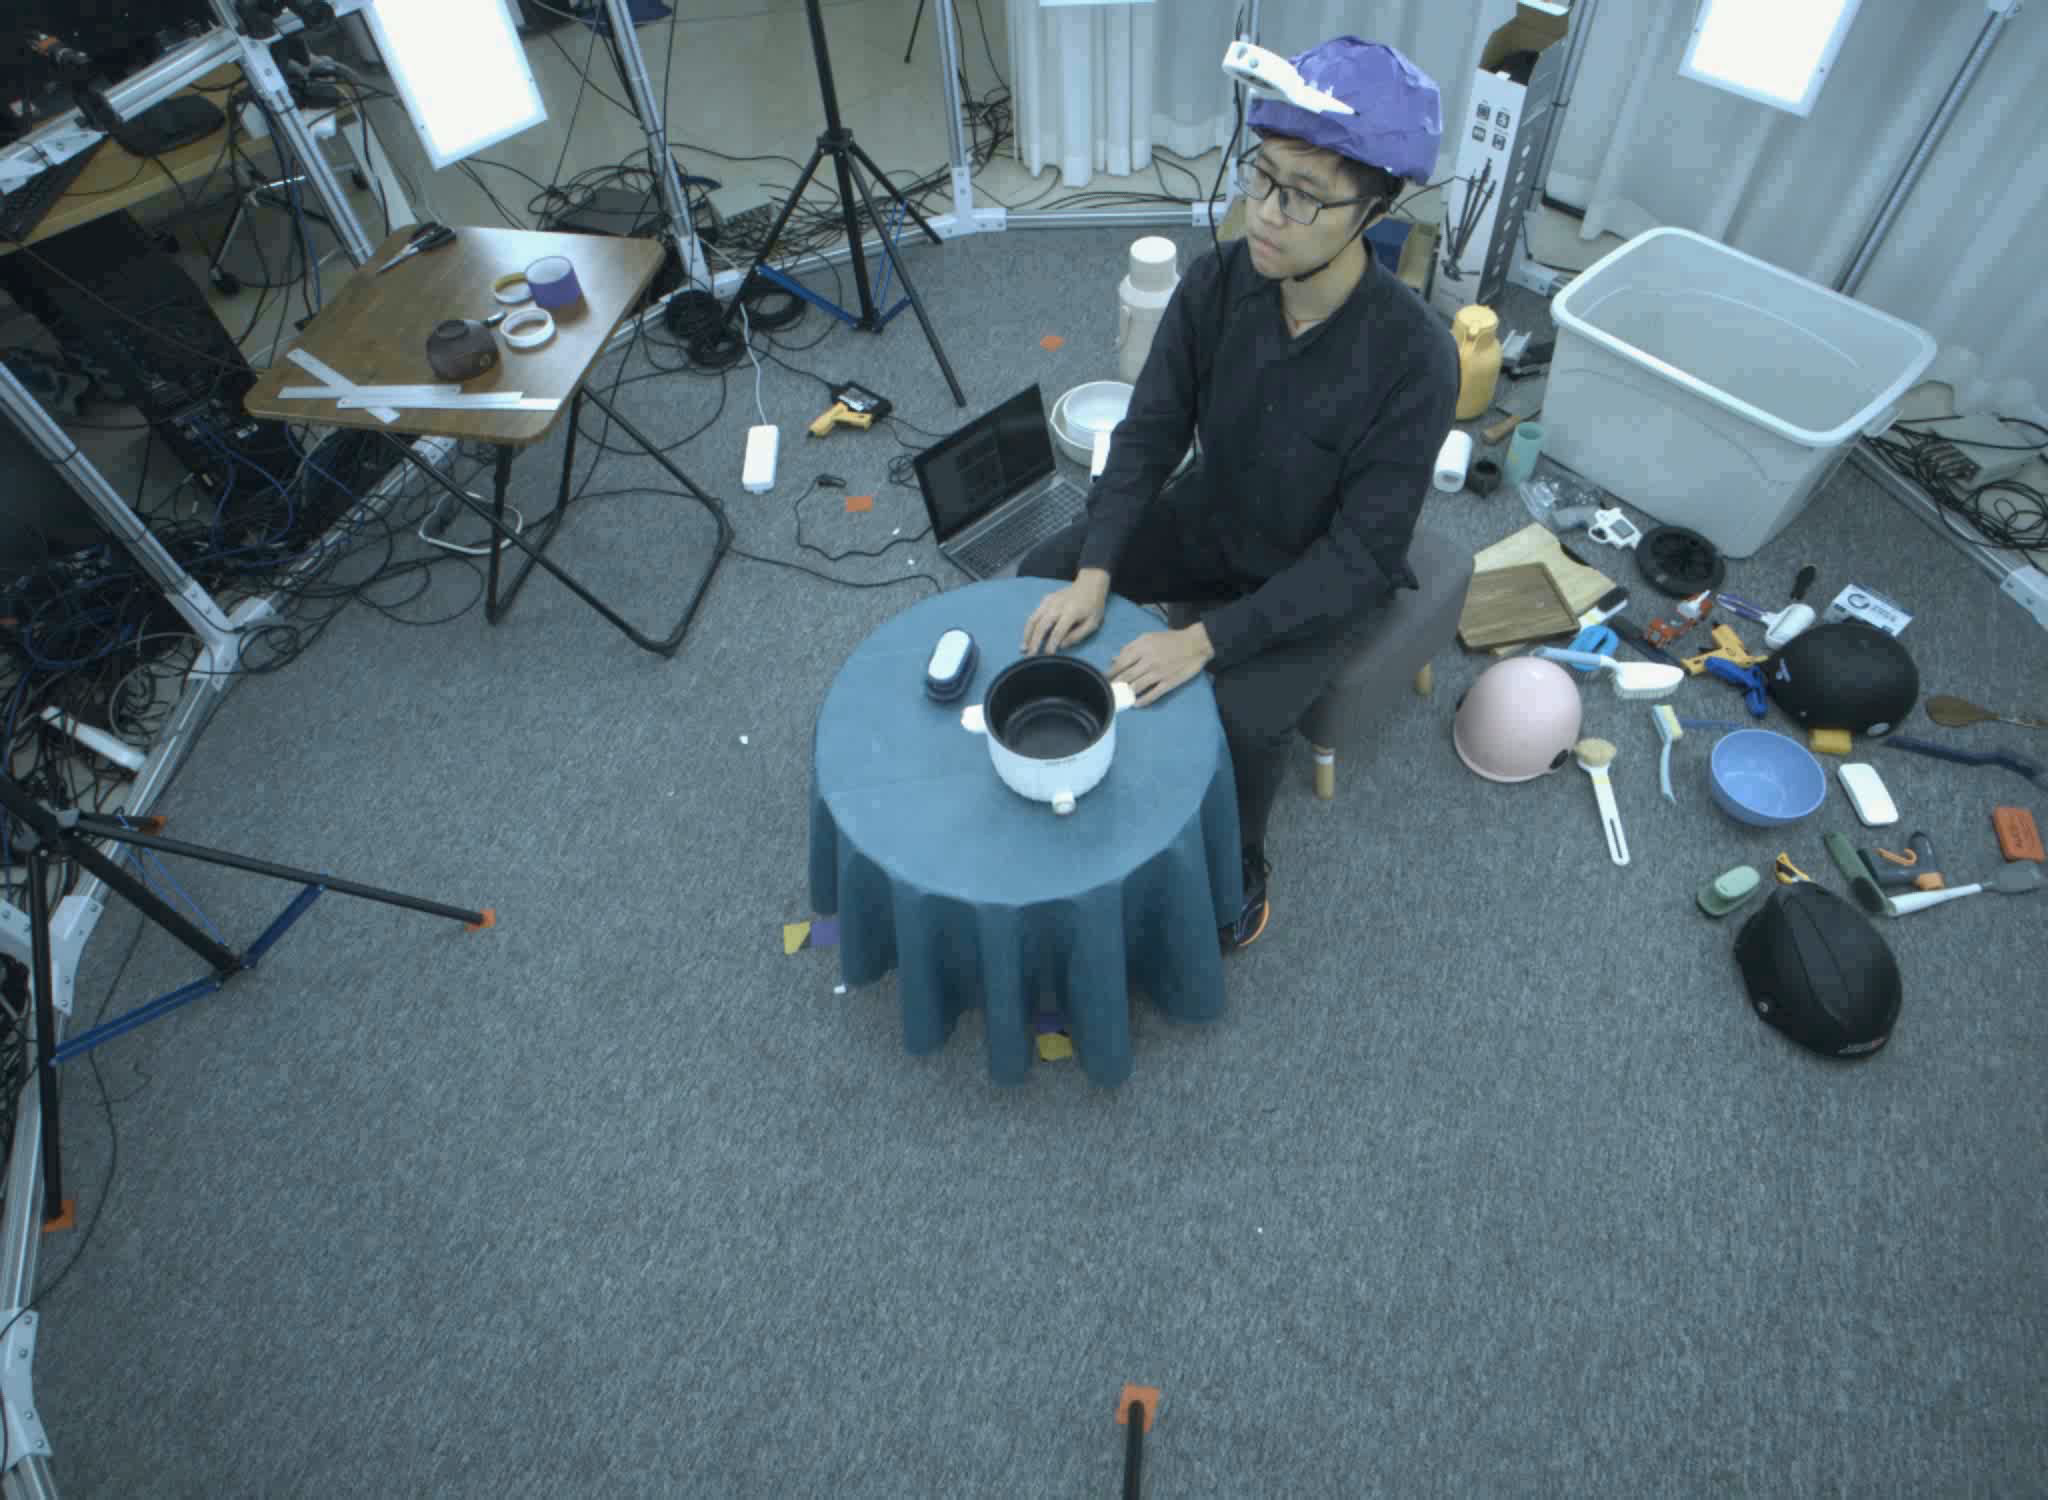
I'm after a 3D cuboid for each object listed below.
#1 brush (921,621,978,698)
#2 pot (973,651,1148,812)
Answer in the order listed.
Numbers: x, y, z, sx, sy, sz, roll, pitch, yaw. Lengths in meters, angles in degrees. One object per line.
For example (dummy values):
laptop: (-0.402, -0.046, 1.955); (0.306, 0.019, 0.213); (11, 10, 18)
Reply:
brush: (-0.113, -0.135, 1.858); (0.067, 0.062, 0.121); (16, 60, 16)
pot: (0.056, -0.022, 1.708); (0.241, 0.144, 0.187); (-11, 52, -3)
